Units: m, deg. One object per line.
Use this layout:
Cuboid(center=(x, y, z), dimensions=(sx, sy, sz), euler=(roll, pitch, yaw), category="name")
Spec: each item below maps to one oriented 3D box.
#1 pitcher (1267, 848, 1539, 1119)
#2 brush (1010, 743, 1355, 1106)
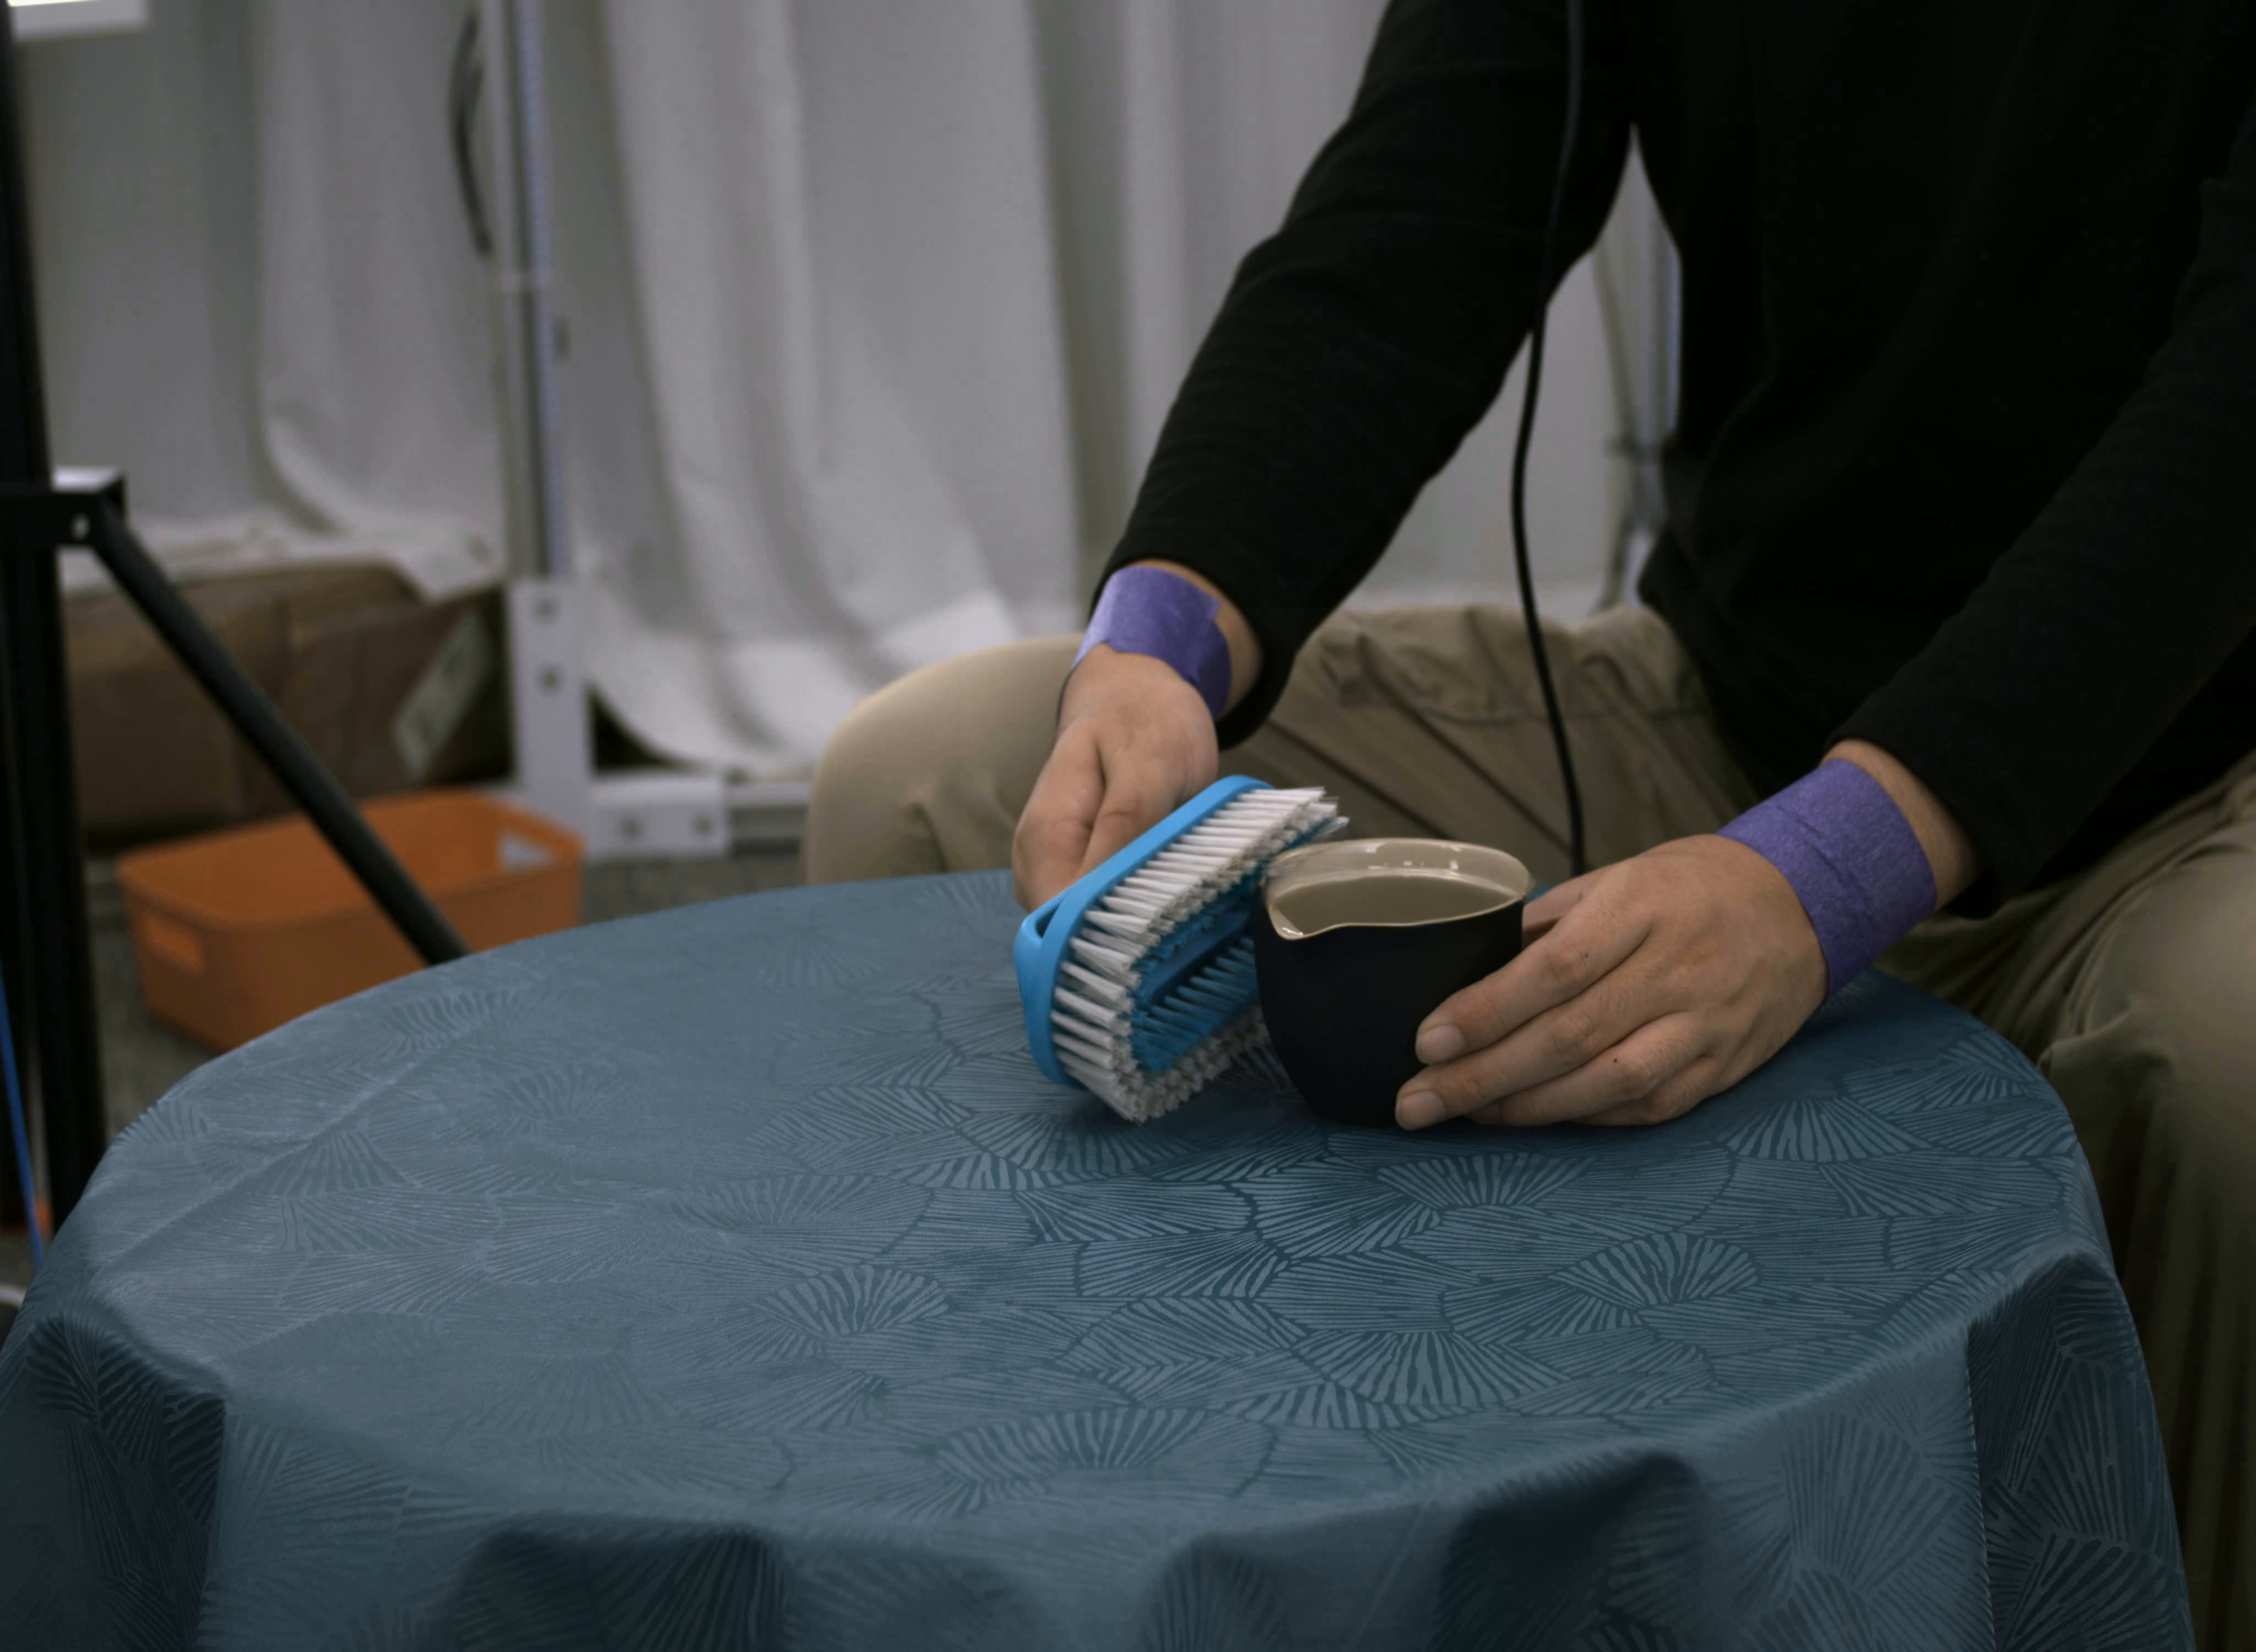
Cuboid(center=(0.081, 0.049, 1.615), dimensions=(0.085, 0.071, 0.094), euler=(13, 23, 40), category="pitcher")
Cuboid(center=(0.008, 0.027, 1.656), dimensions=(0.065, 0.084, 0.139), euler=(15, 35, 34), category="brush")
